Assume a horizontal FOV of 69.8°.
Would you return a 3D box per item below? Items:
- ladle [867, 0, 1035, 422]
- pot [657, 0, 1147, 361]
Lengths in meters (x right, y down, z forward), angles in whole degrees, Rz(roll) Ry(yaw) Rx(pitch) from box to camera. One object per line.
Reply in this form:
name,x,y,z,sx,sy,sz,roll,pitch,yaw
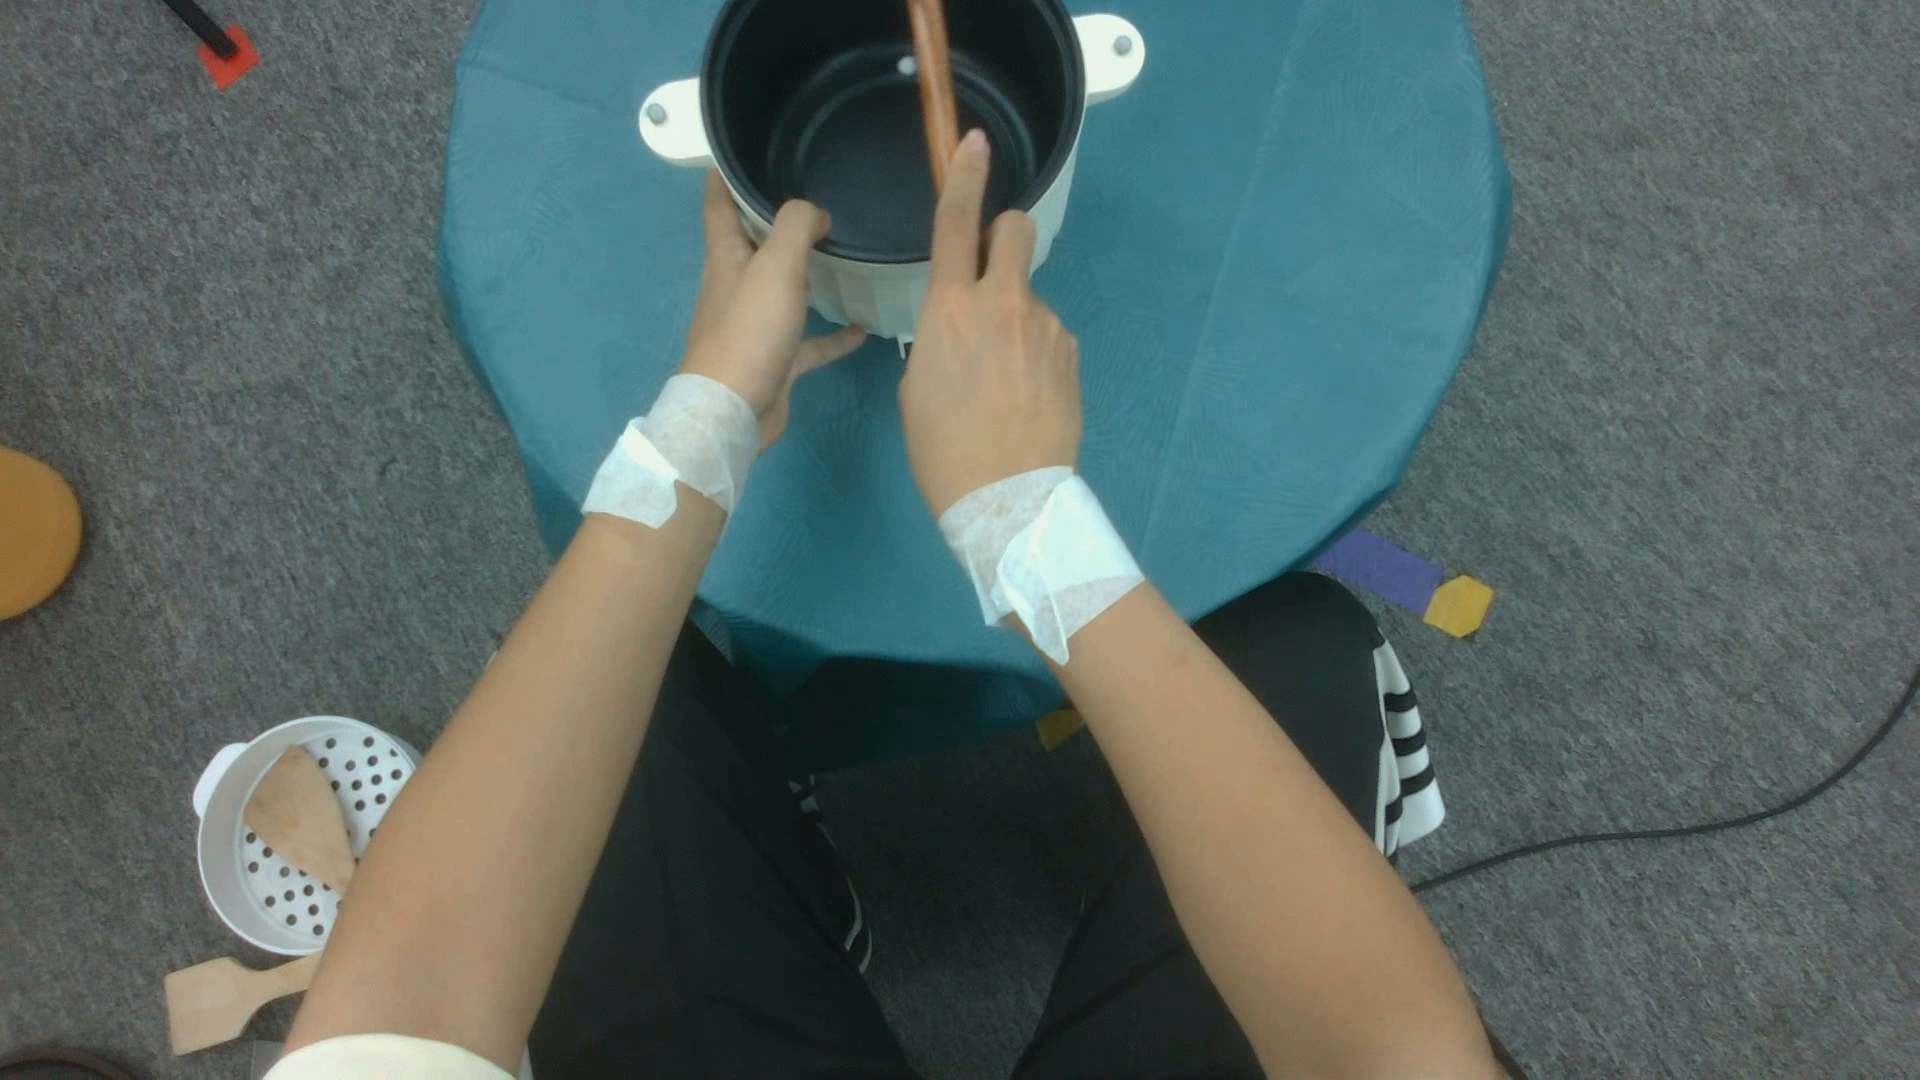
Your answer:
ladle,-0.037,-0.177,0.626,0.076,0.082,0.274,-15,84,11
pot,-0.029,-0.204,0.725,0.240,0.142,0.191,-10,80,-2
